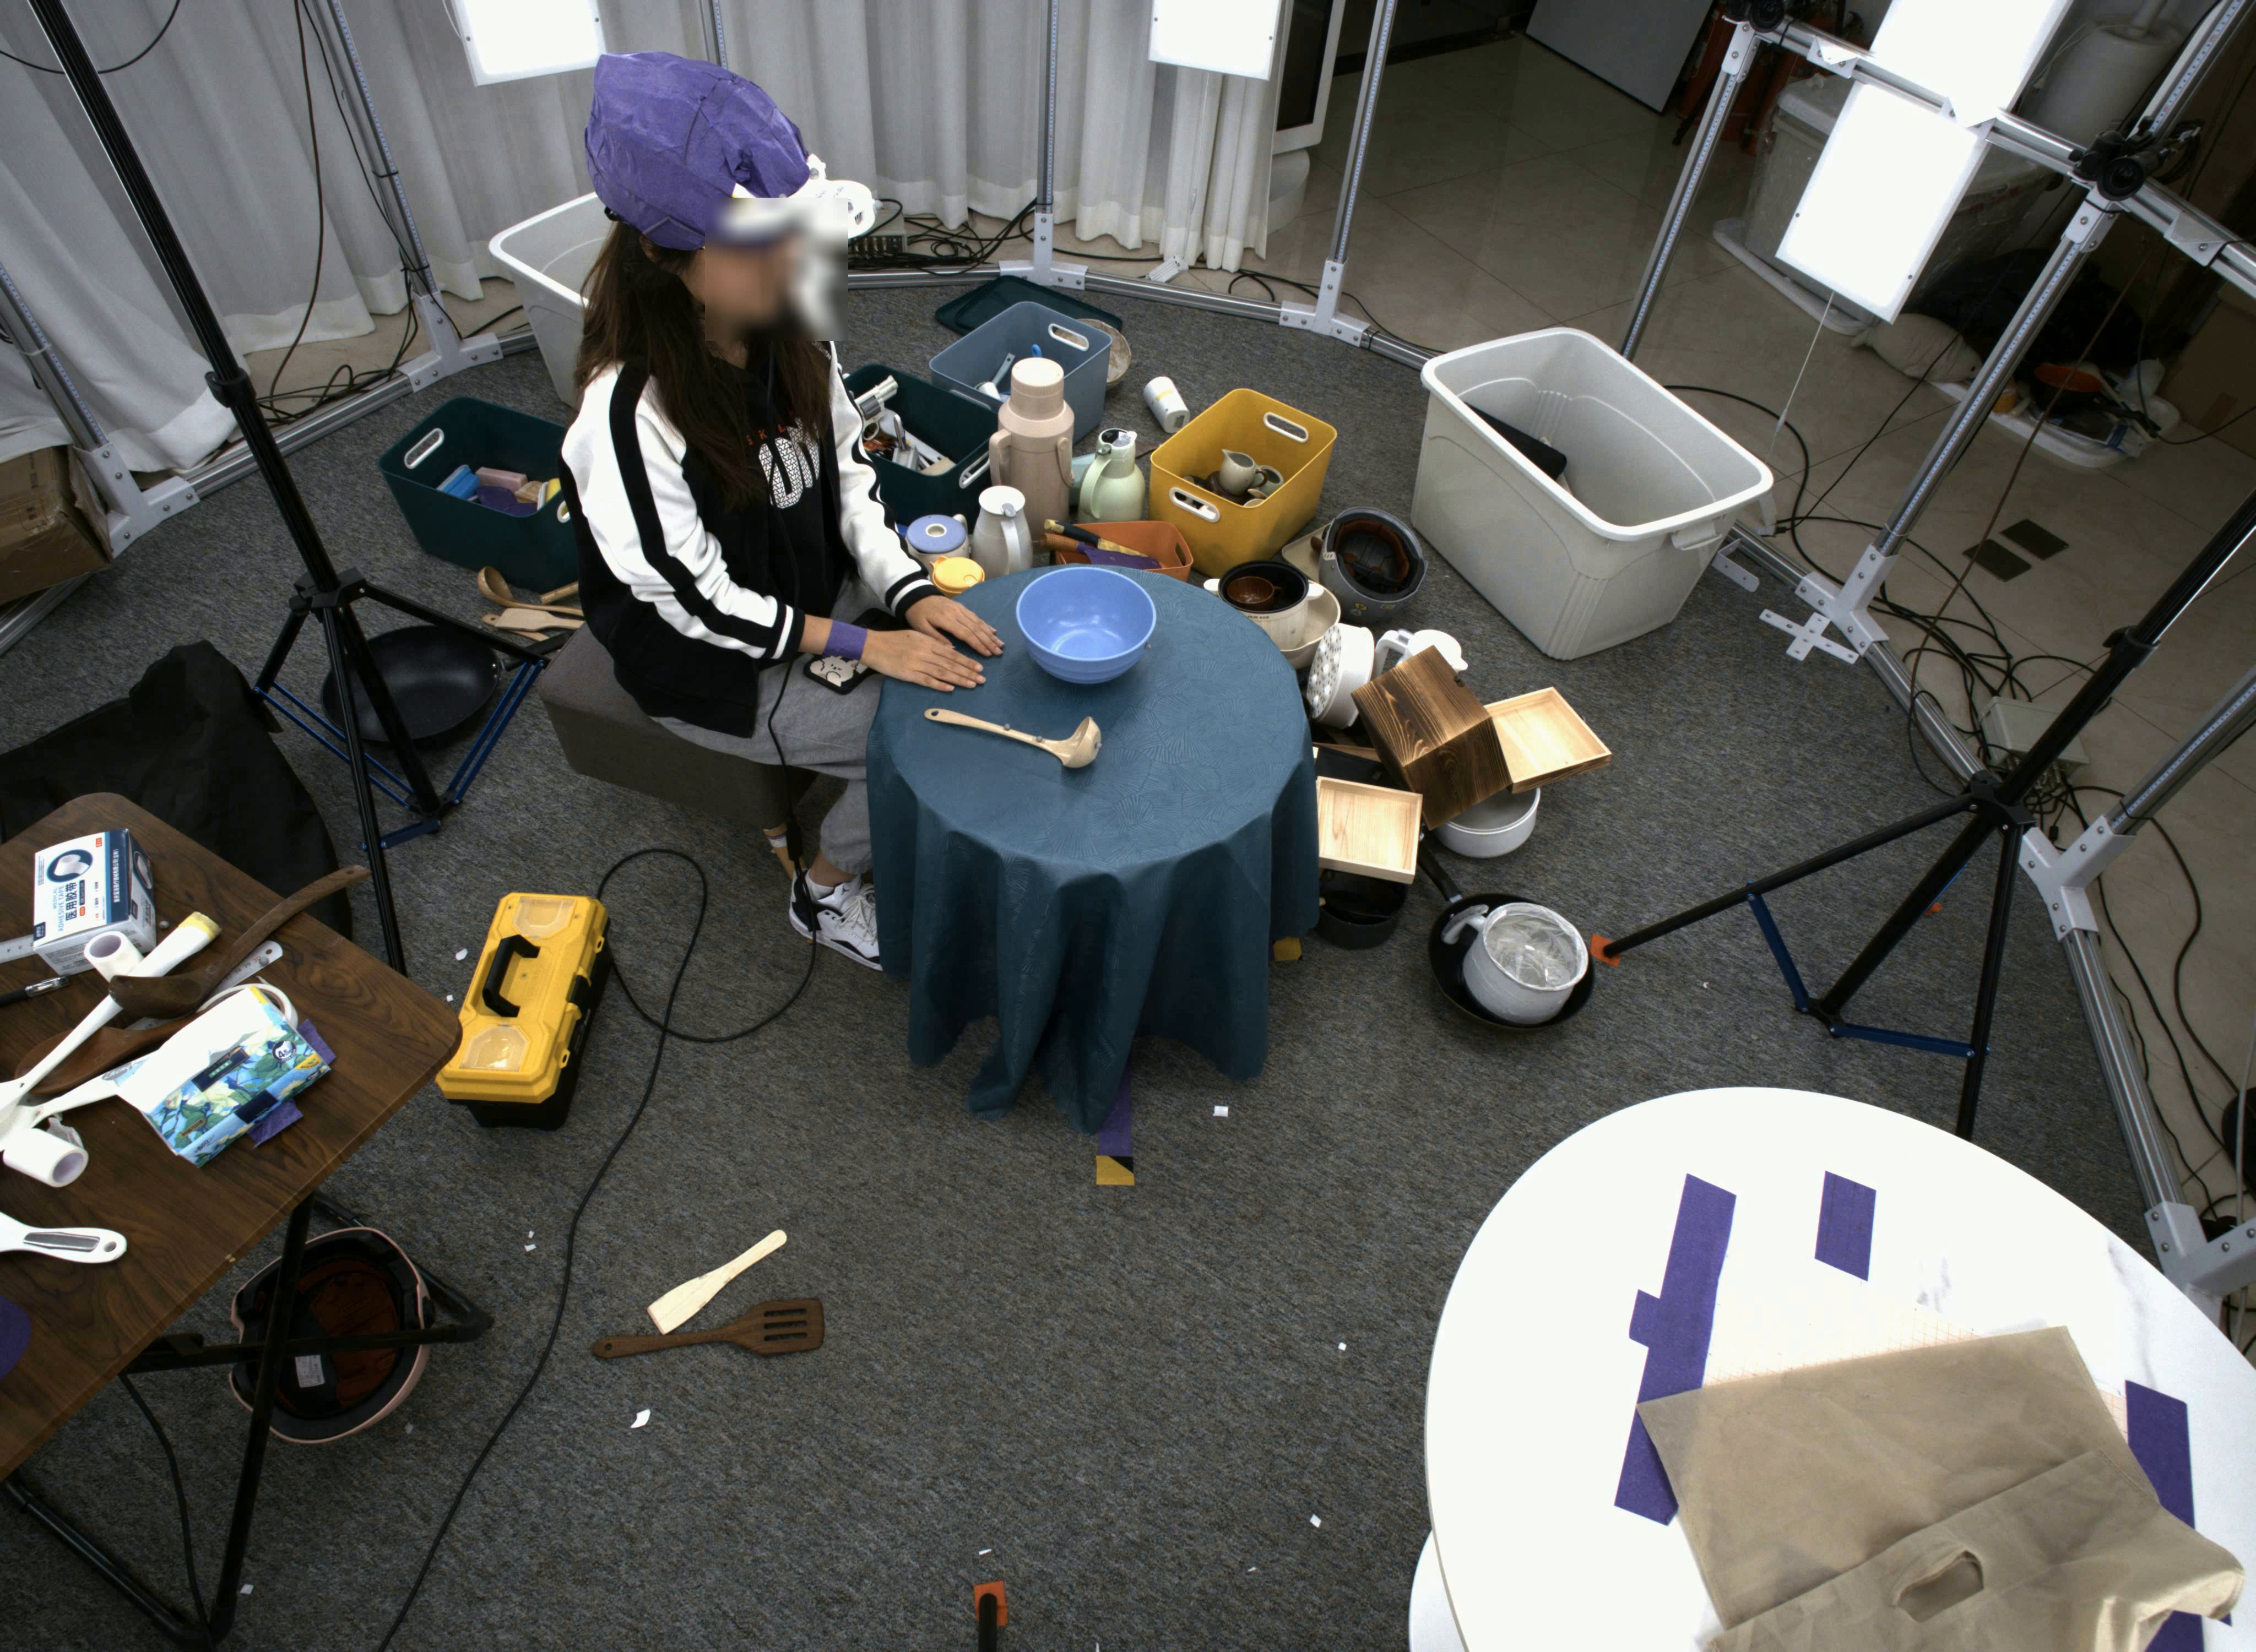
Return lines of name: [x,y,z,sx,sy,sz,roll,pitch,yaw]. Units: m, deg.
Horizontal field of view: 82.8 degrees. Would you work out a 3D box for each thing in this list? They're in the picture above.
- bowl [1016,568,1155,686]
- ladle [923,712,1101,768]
bowl: [-0.061,-0.269,1.843,0.196,0.093,0.201,1,50,-2]
ladle: [-0.162,-0.138,1.732,0.255,0.071,0.073,14,62,9]
